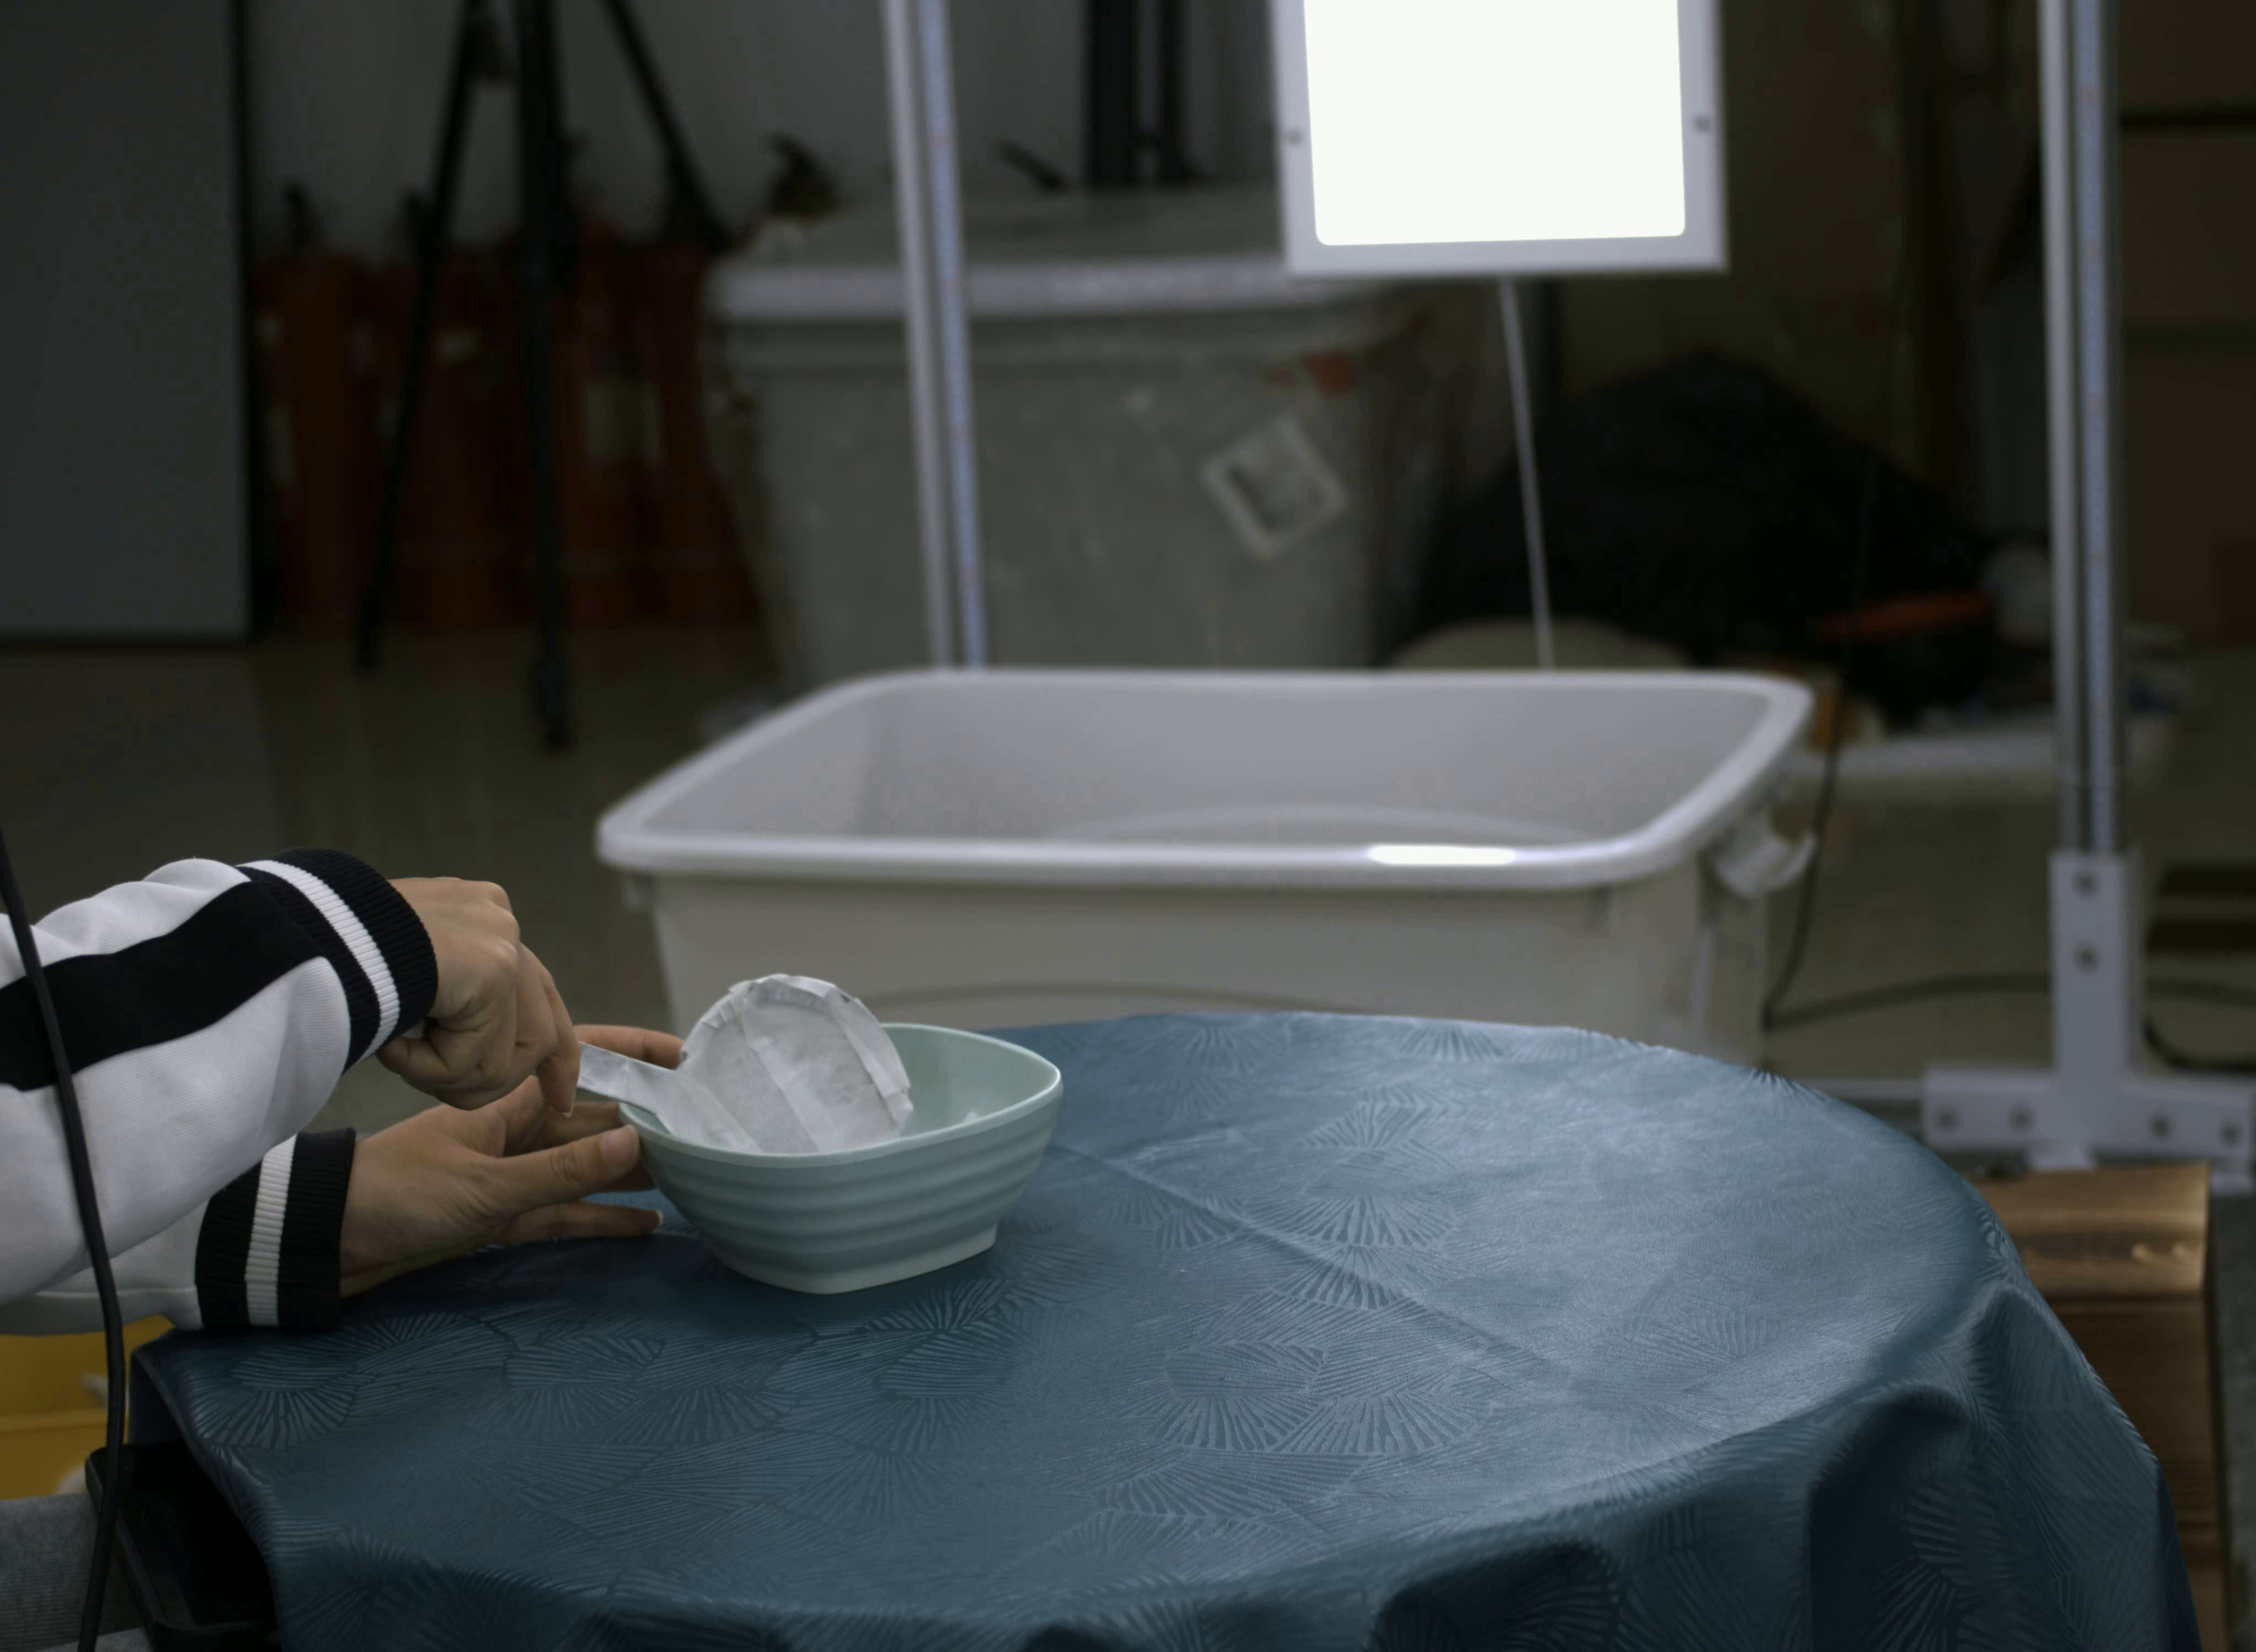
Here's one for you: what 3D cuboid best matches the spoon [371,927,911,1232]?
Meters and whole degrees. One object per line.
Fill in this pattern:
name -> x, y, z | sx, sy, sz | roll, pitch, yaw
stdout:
spoon -> -0.150, 0.066, 1.759 | 0.060, 0.101, 0.273 | -6, -18, 21

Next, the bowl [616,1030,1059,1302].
bowl -> -0.096, 0.118, 1.859 | 0.151, 0.059, 0.151 | -5, 14, 0
